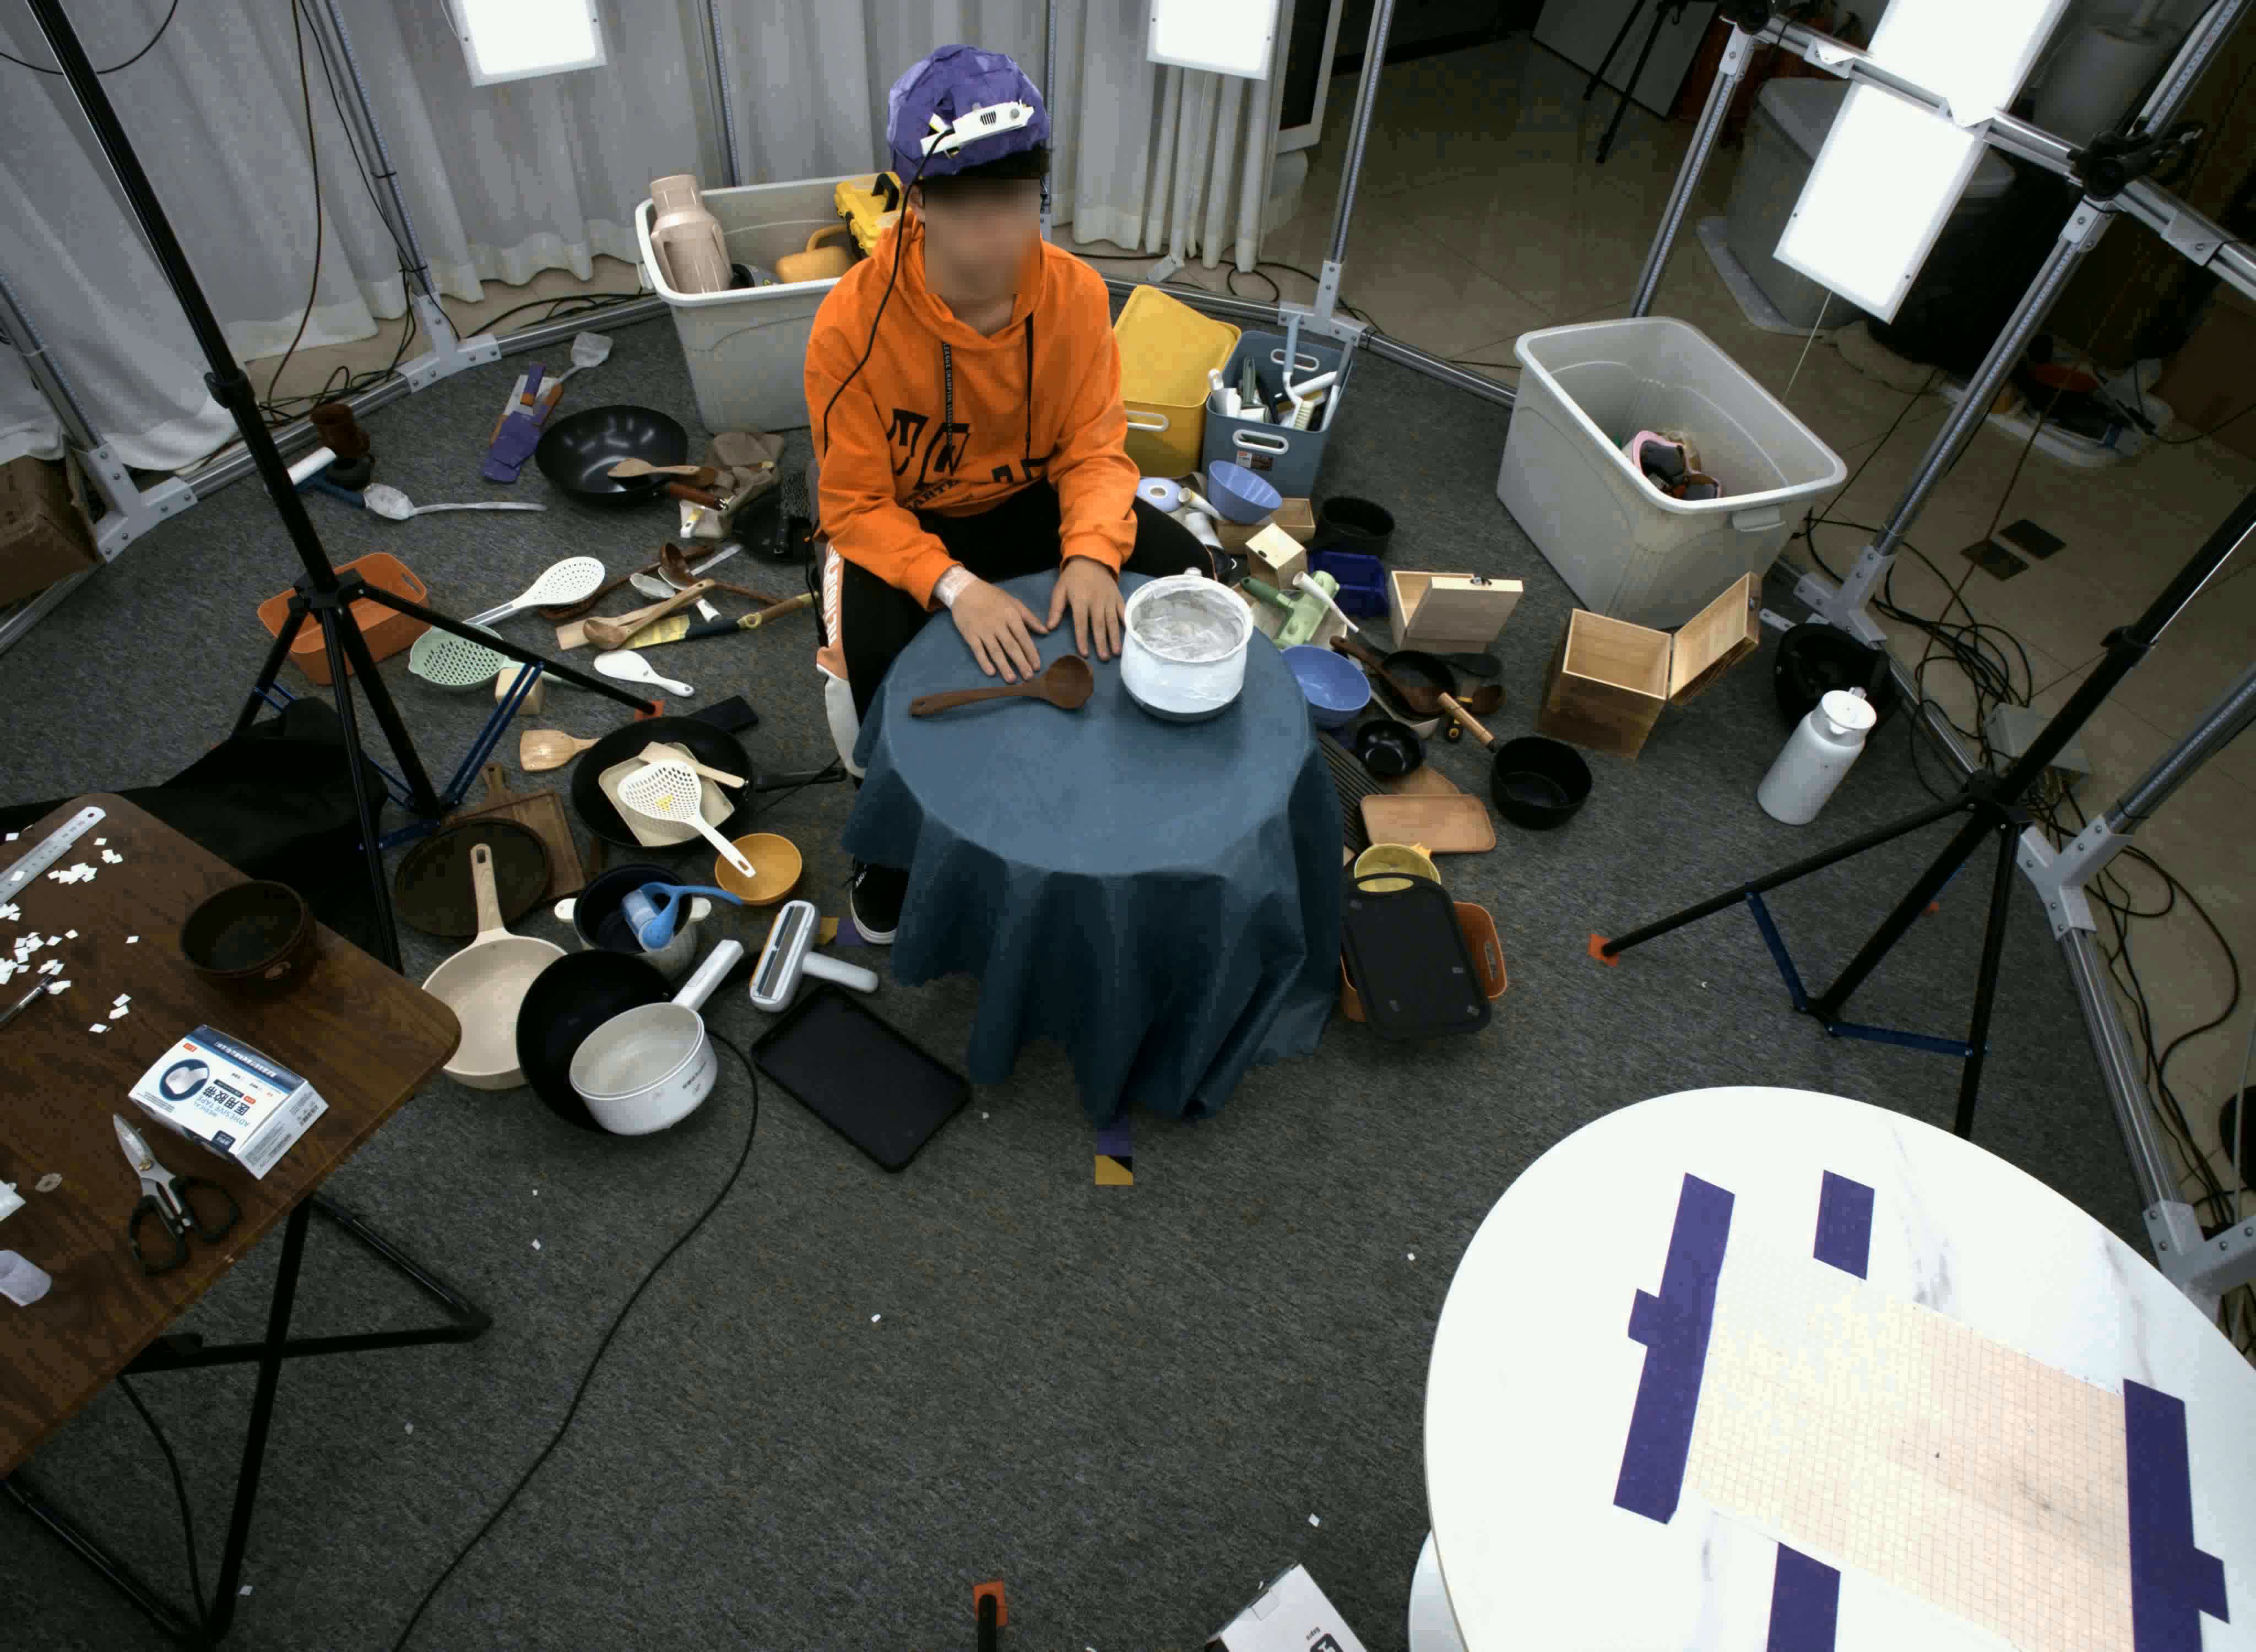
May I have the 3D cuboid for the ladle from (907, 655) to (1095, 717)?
[{"bbox_3d":[-0.174,-0.187,1.780,0.260,0.064,0.077,-9,76,-12],"label":"ladle"}]

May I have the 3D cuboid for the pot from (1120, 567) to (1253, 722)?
[{"bbox_3d":[0.081,-0.266,1.816,0.178,0.133,0.239,5,49,0],"label":"pot"}]
